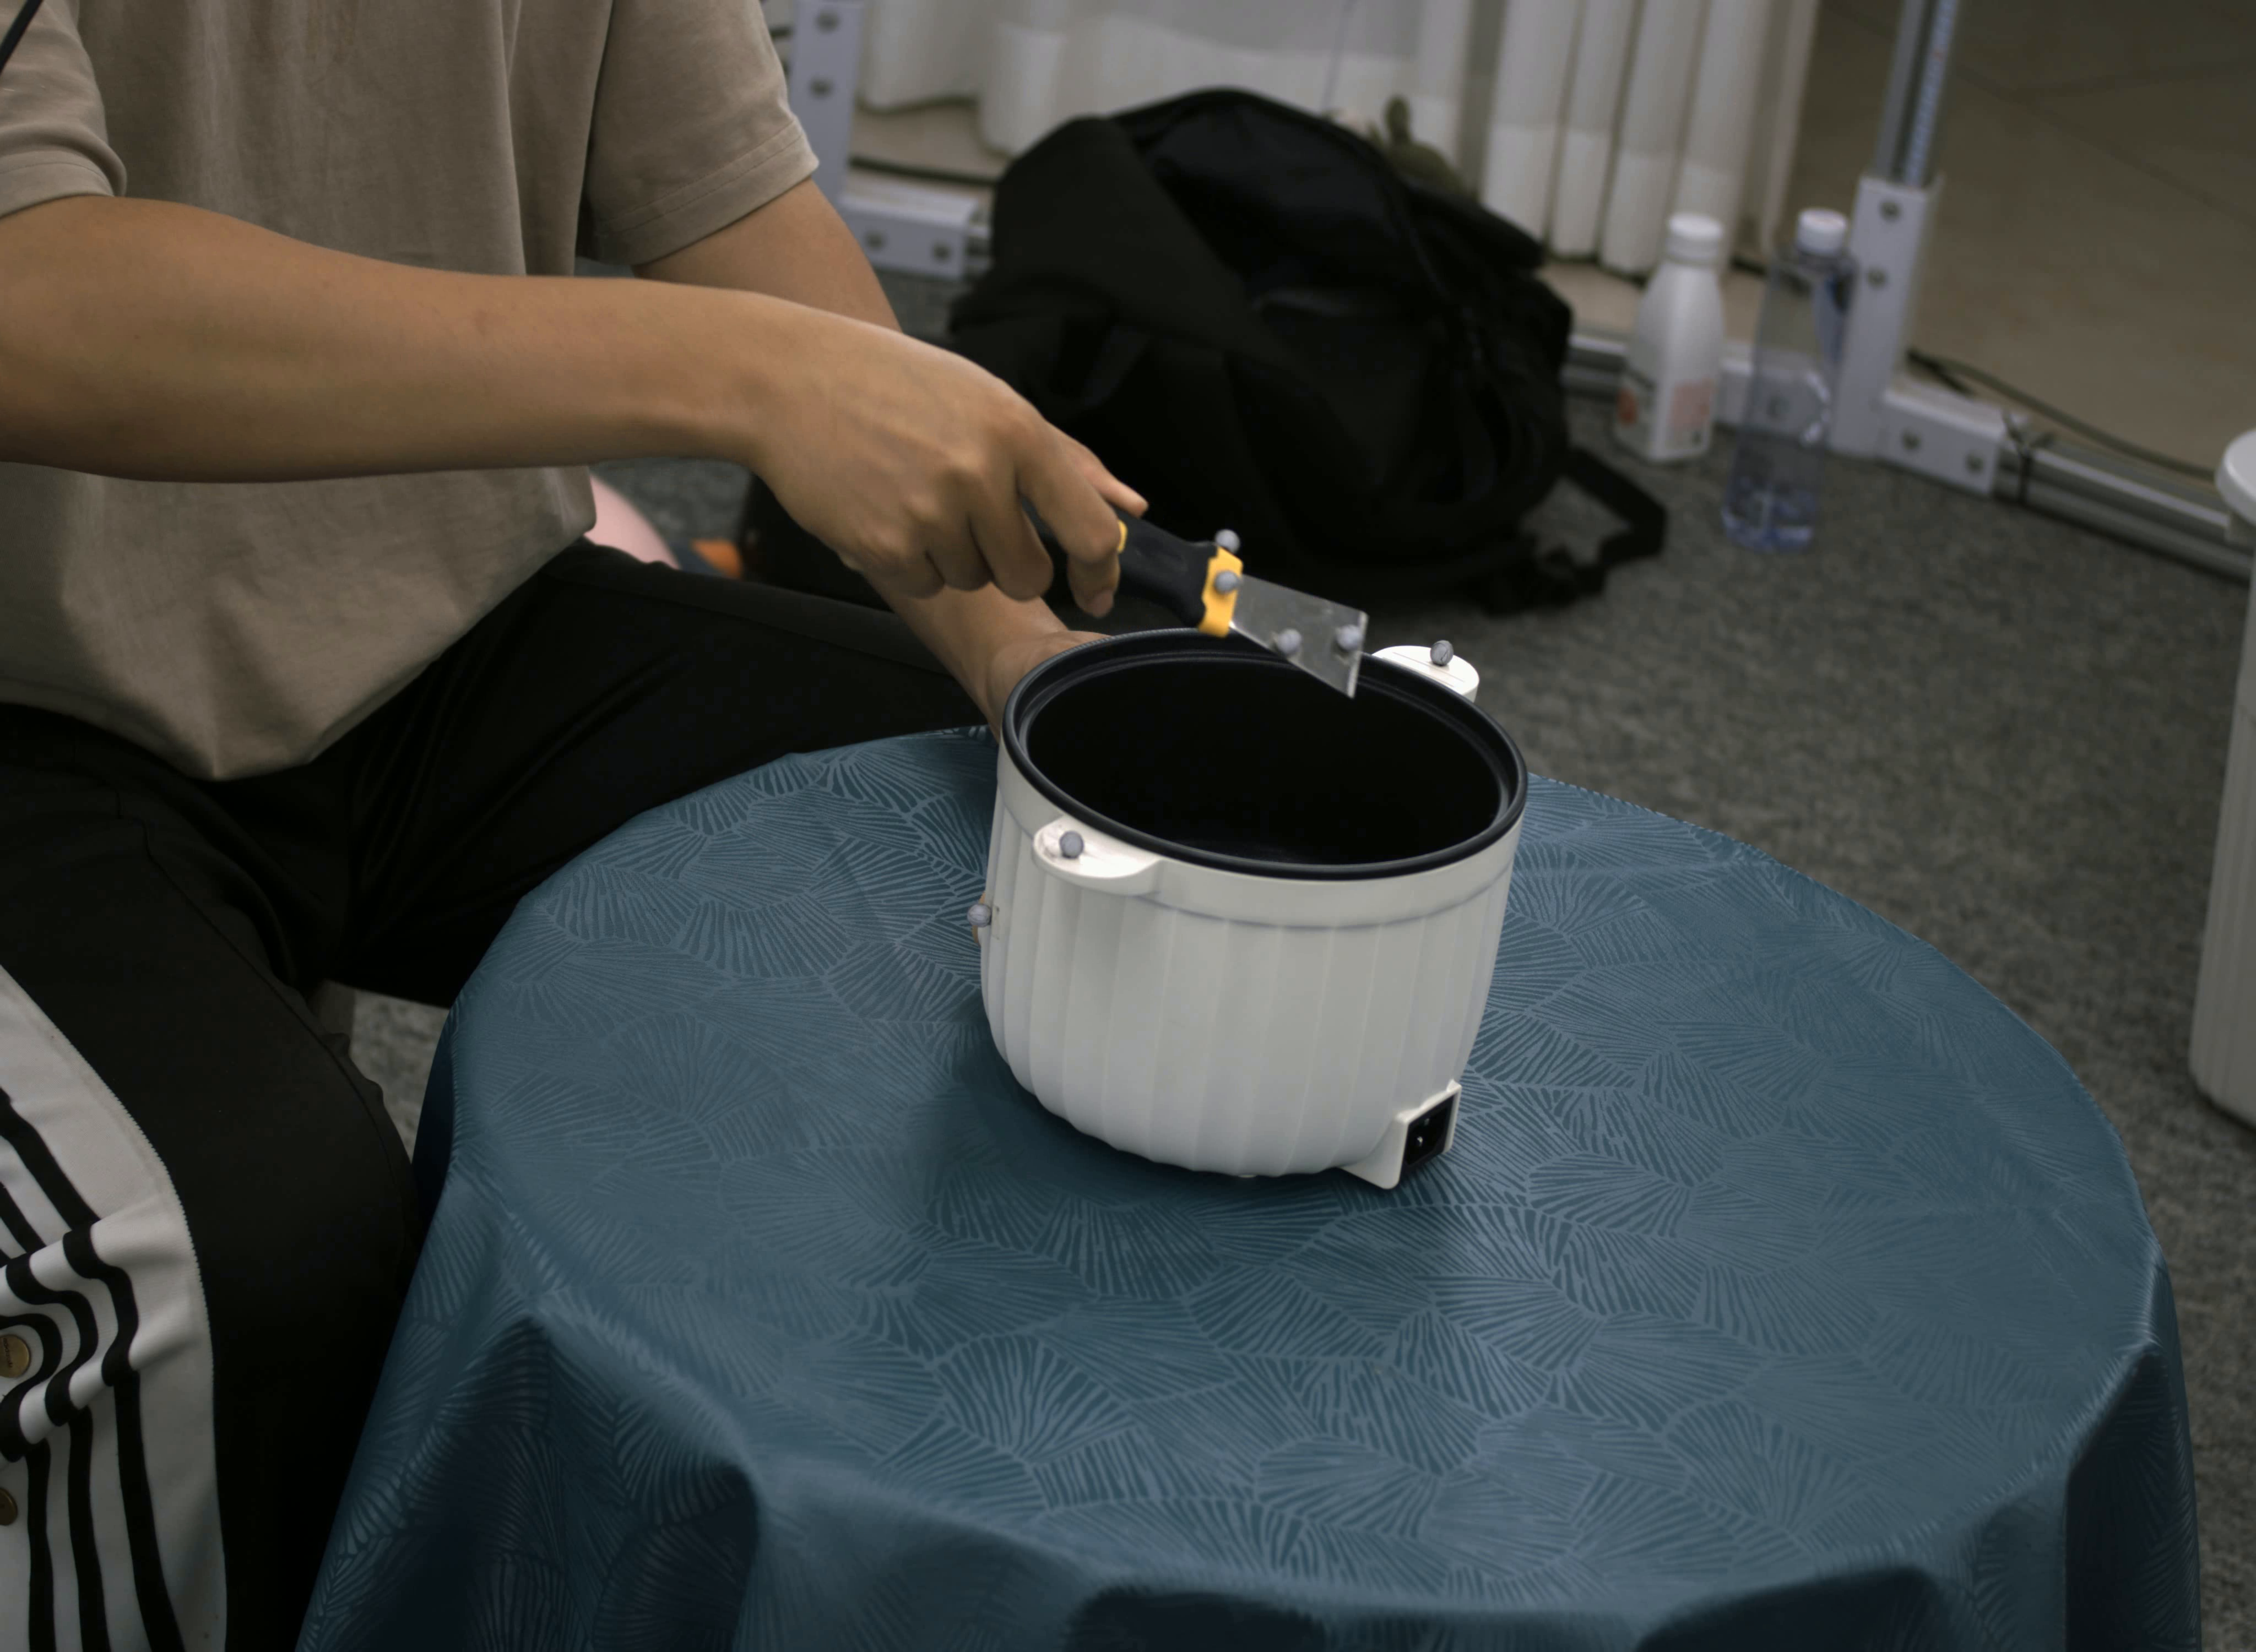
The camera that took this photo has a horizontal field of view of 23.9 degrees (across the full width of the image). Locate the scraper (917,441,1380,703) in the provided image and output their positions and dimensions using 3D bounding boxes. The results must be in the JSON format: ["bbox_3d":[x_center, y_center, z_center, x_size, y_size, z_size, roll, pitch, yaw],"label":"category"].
[{"bbox_3d":[0.007,-0.086,1.762,0.170,0.015,0.039,22,64,-19],"label":"scraper"}]

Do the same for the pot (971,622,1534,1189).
[{"bbox_3d":[0.035,0.029,1.845,0.191,0.142,0.239,27,32,26],"label":"pot"}]
